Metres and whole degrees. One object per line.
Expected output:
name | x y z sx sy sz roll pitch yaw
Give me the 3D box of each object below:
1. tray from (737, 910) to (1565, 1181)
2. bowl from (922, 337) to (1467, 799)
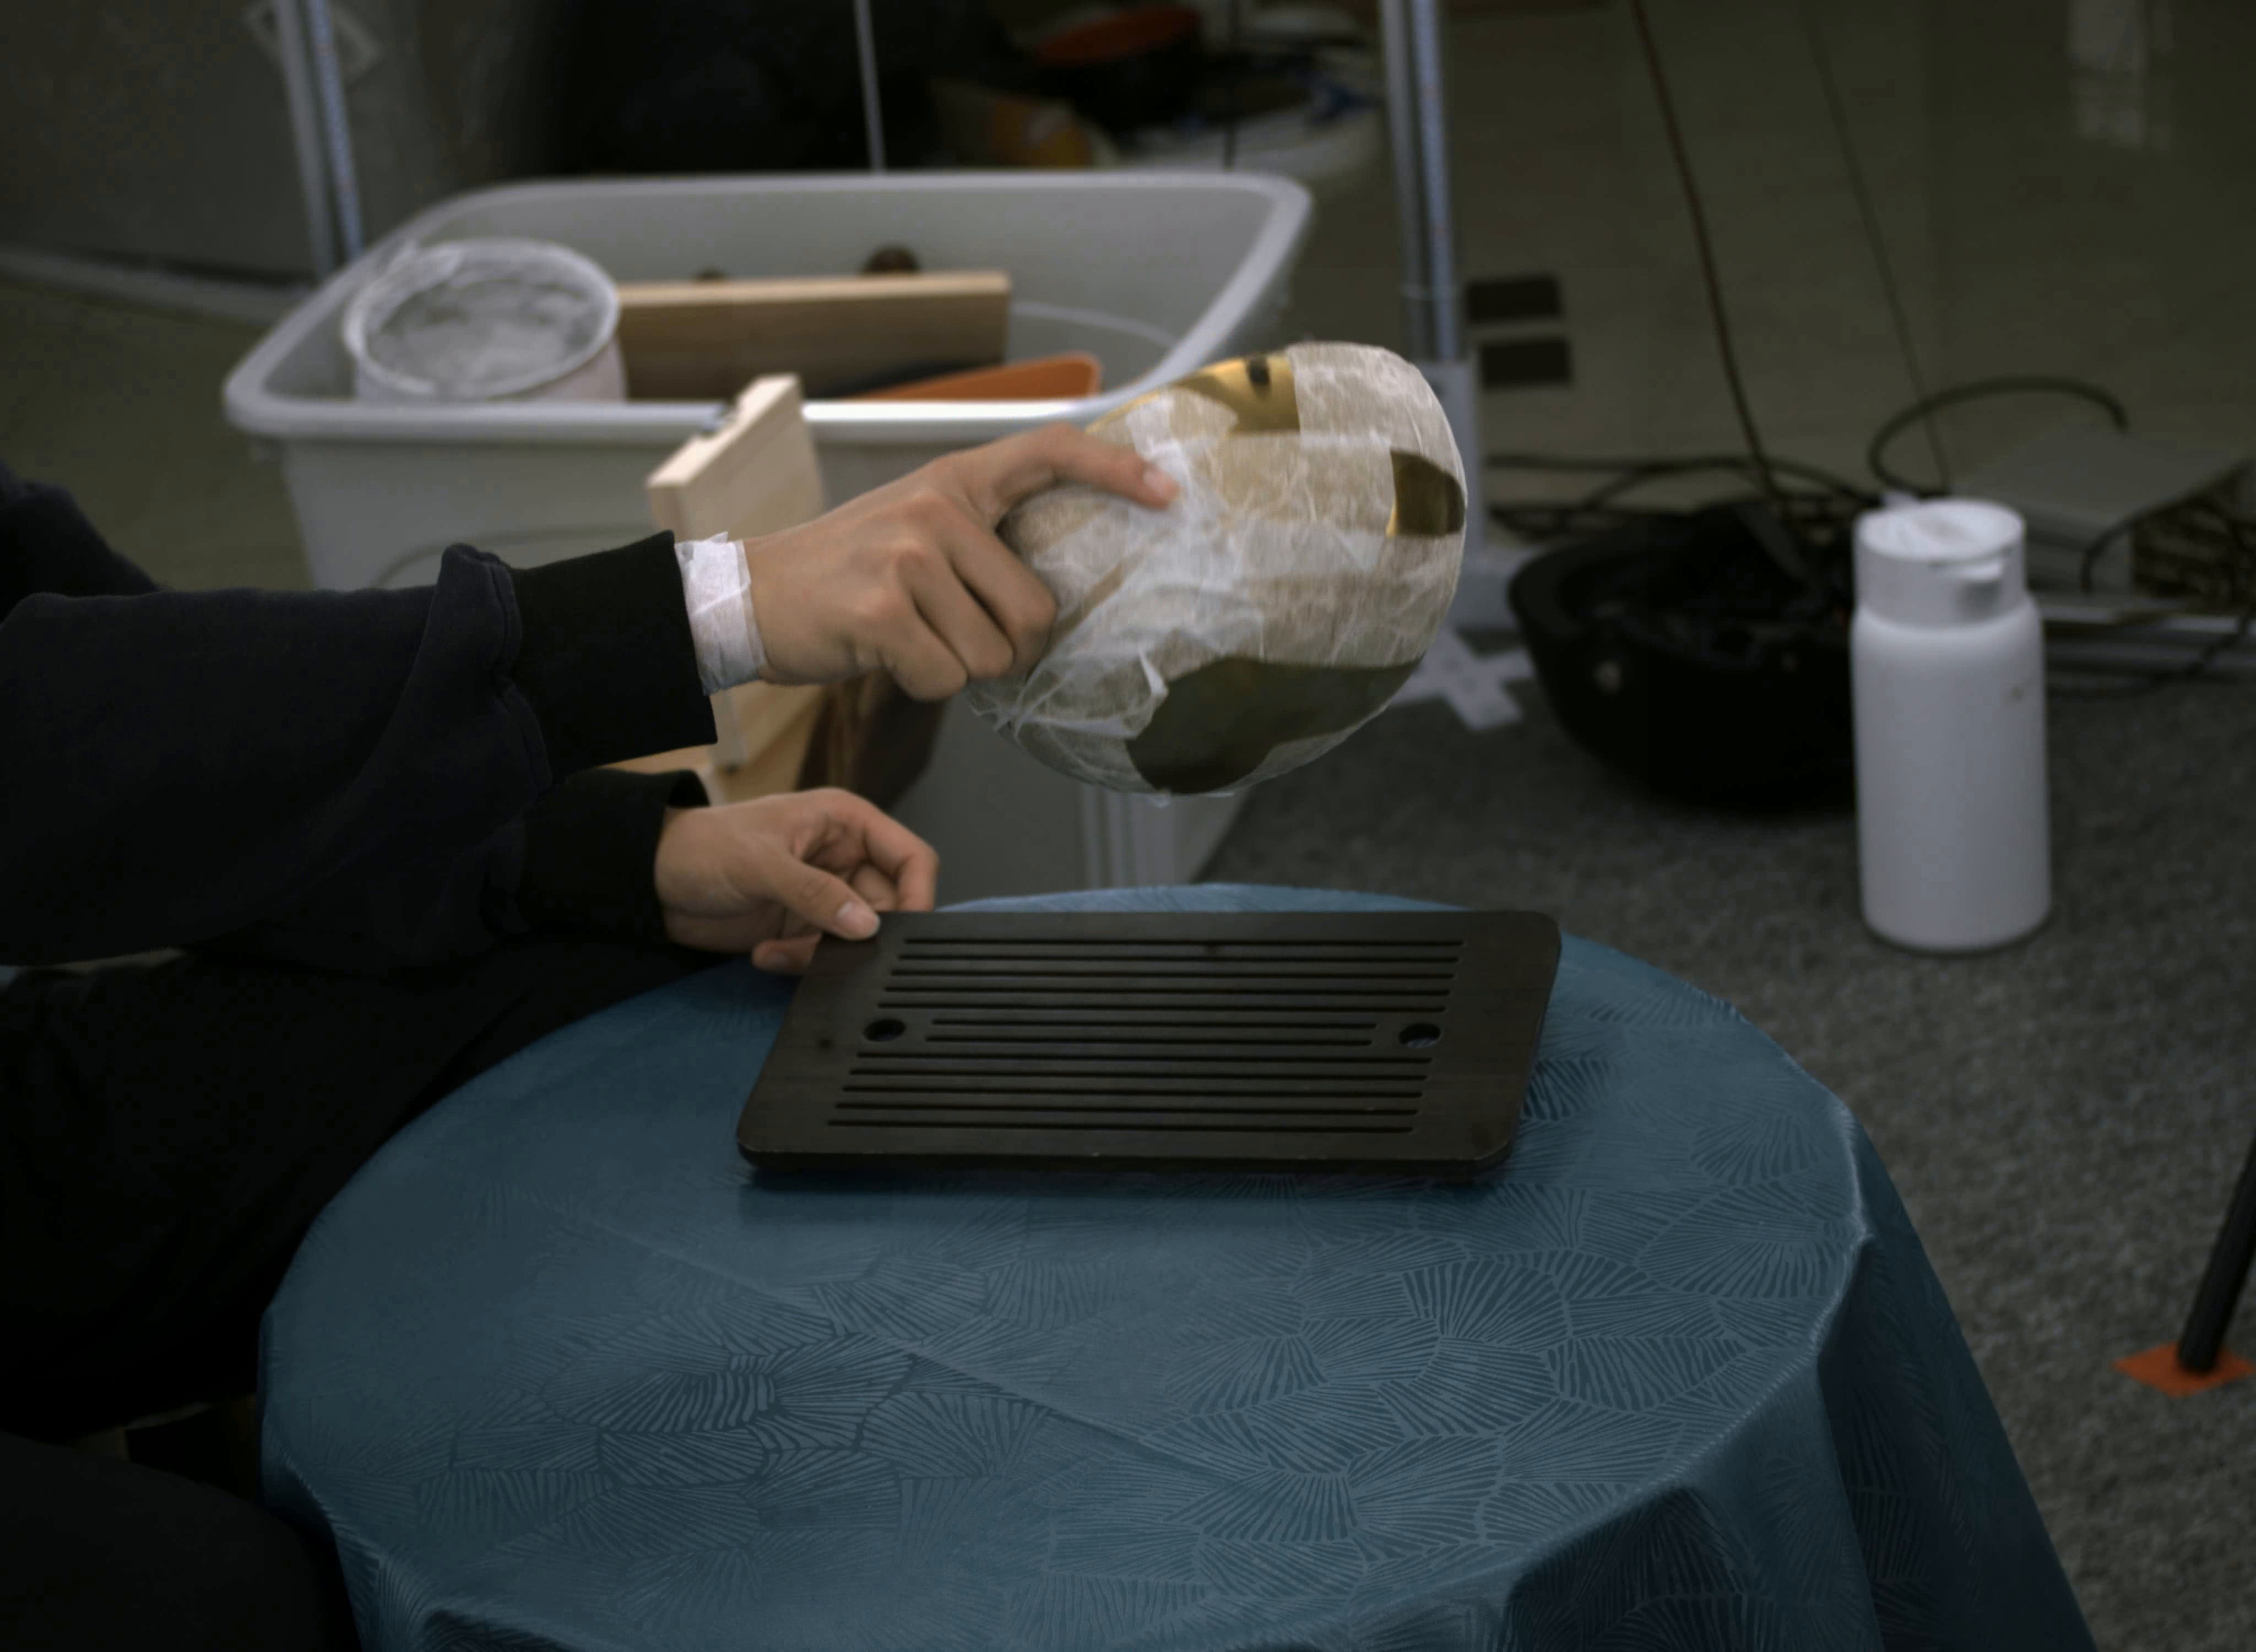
tray | 0.011 0.086 2.221 0.305 0.019 0.167 0 33 14
bowl | 0.037 -0.072 2.020 0.213 0.218 0.093 -17 62 -23
